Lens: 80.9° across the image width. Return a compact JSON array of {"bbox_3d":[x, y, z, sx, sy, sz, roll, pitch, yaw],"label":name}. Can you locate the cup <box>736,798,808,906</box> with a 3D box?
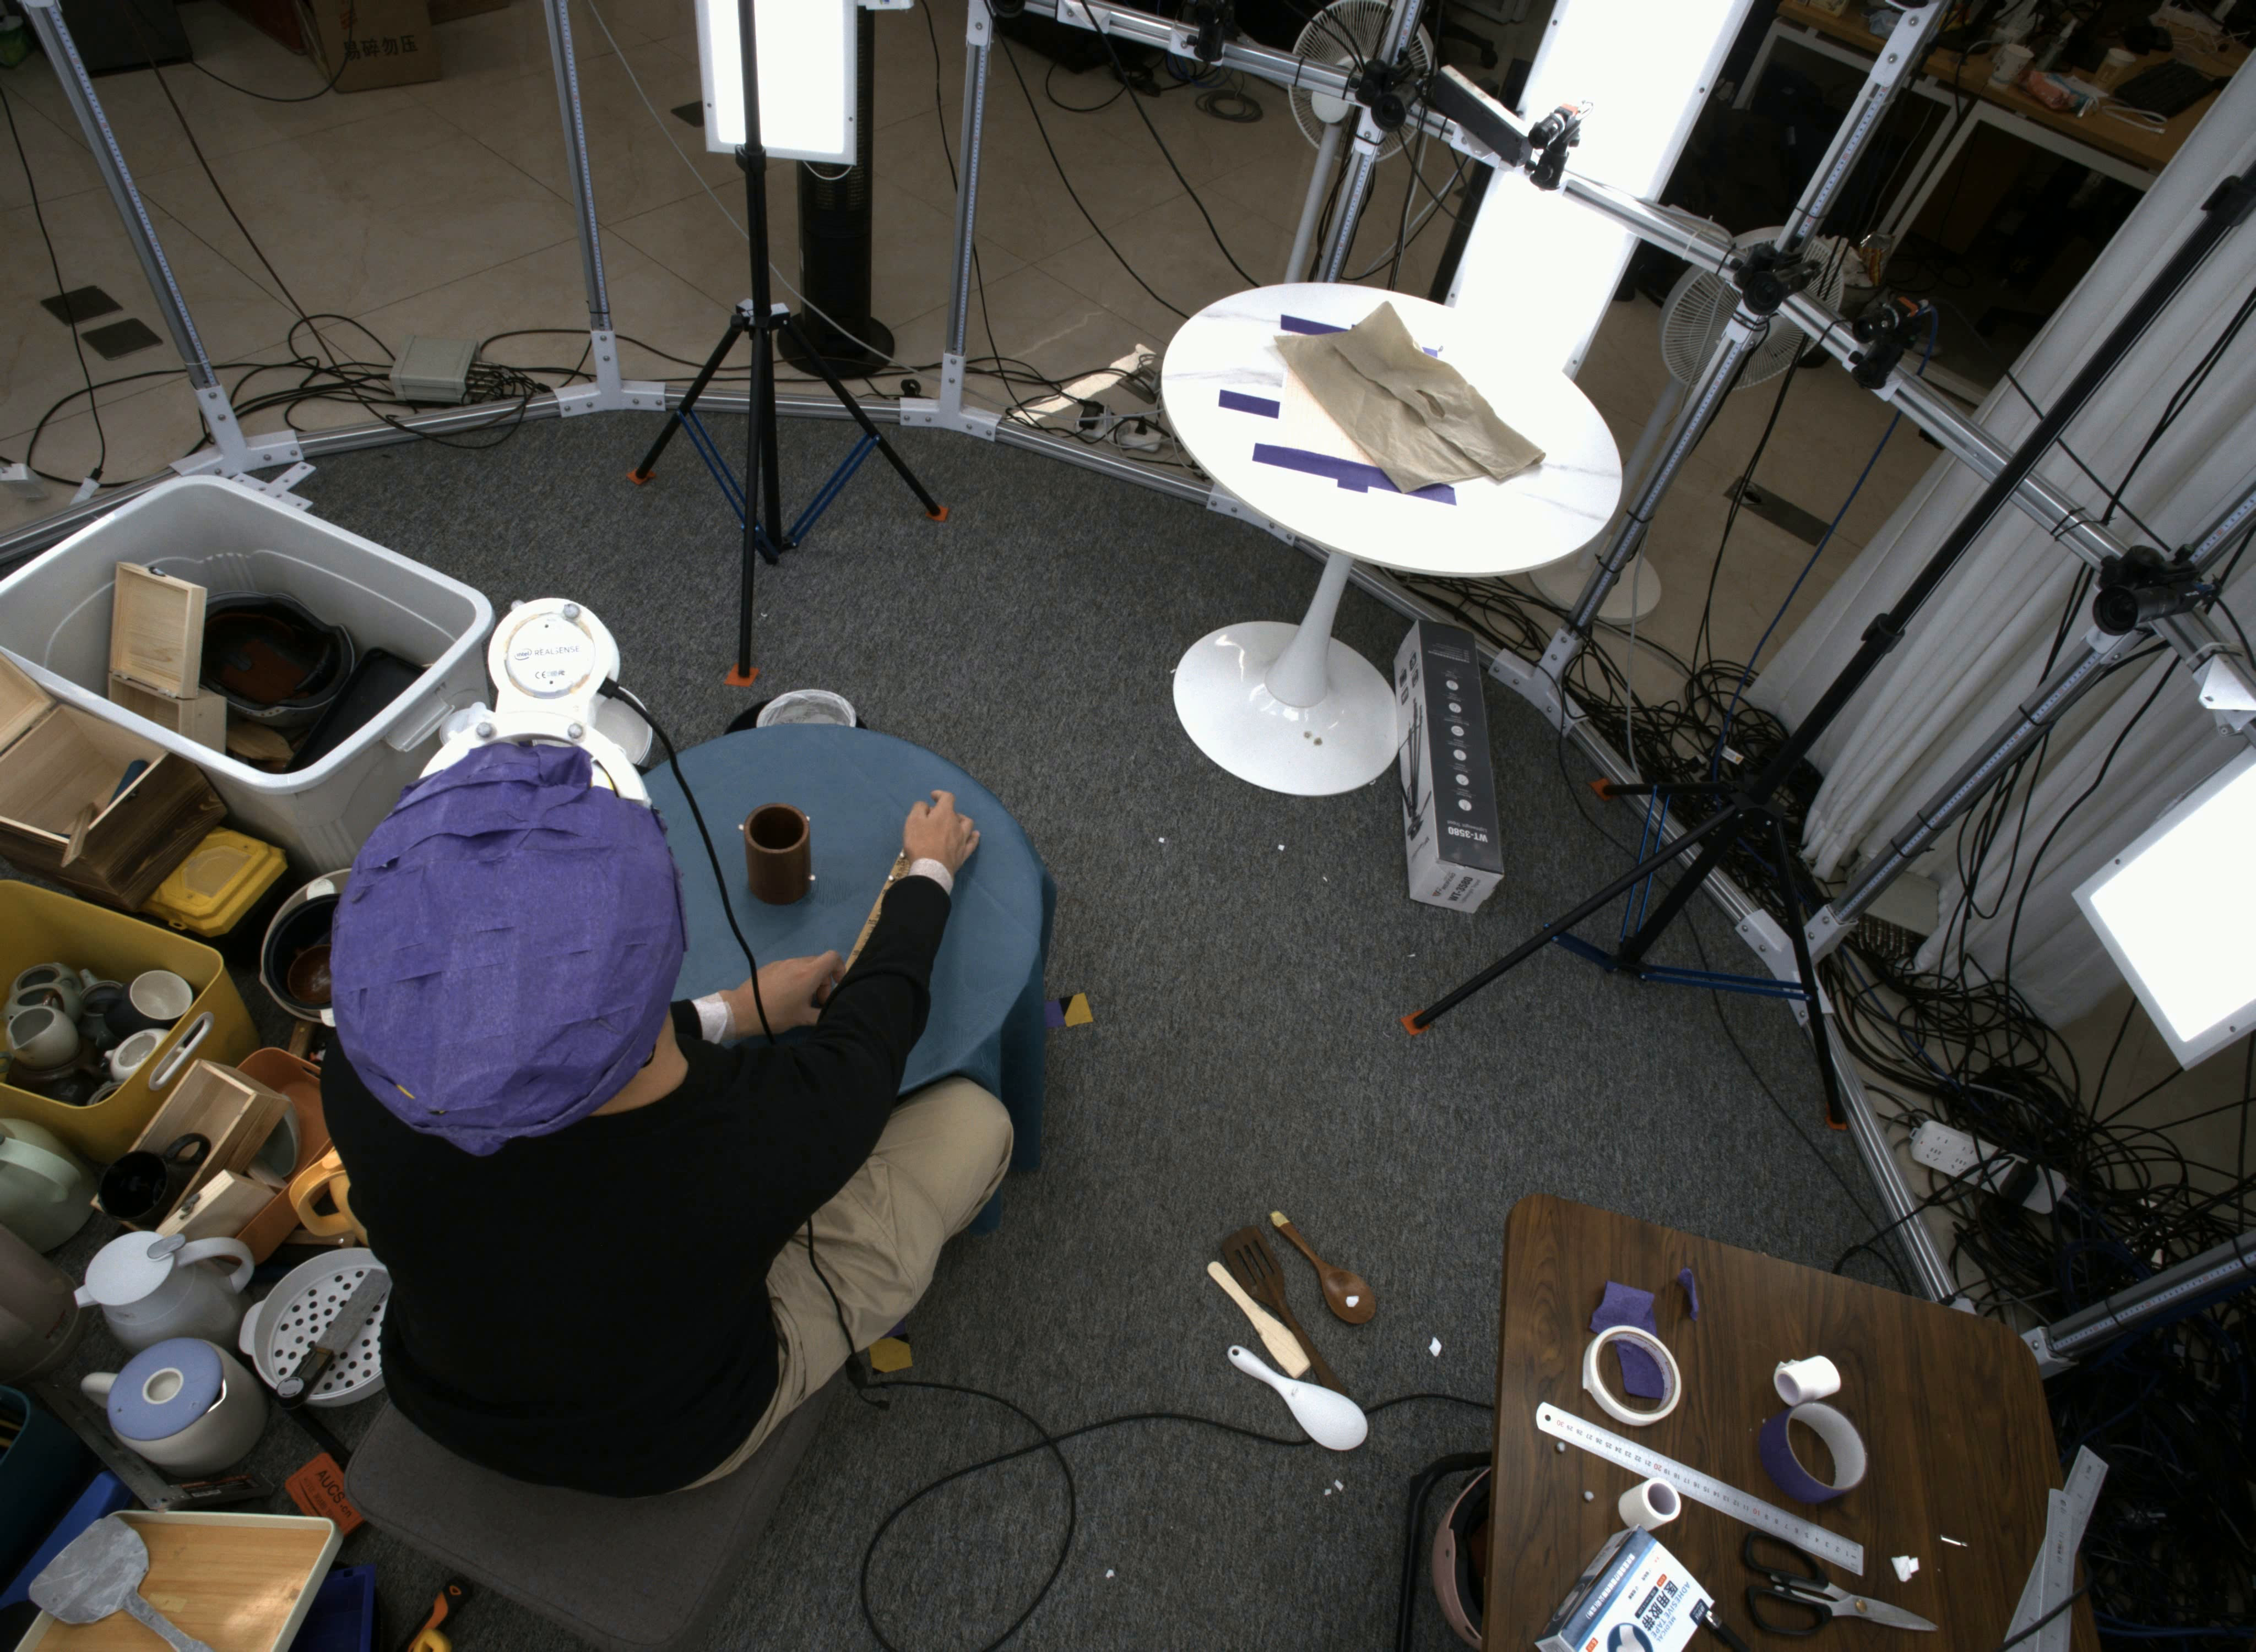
[{"bbox_3d":[-0.442,0.032,1.615,0.087,0.121,0.086,6,52,-6],"label":"cup"}]

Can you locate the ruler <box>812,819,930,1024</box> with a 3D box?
[{"bbox_3d":[-0.323,0.110,1.653,0.027,0.023,0.328,4,48,20],"label":"ruler"}]
